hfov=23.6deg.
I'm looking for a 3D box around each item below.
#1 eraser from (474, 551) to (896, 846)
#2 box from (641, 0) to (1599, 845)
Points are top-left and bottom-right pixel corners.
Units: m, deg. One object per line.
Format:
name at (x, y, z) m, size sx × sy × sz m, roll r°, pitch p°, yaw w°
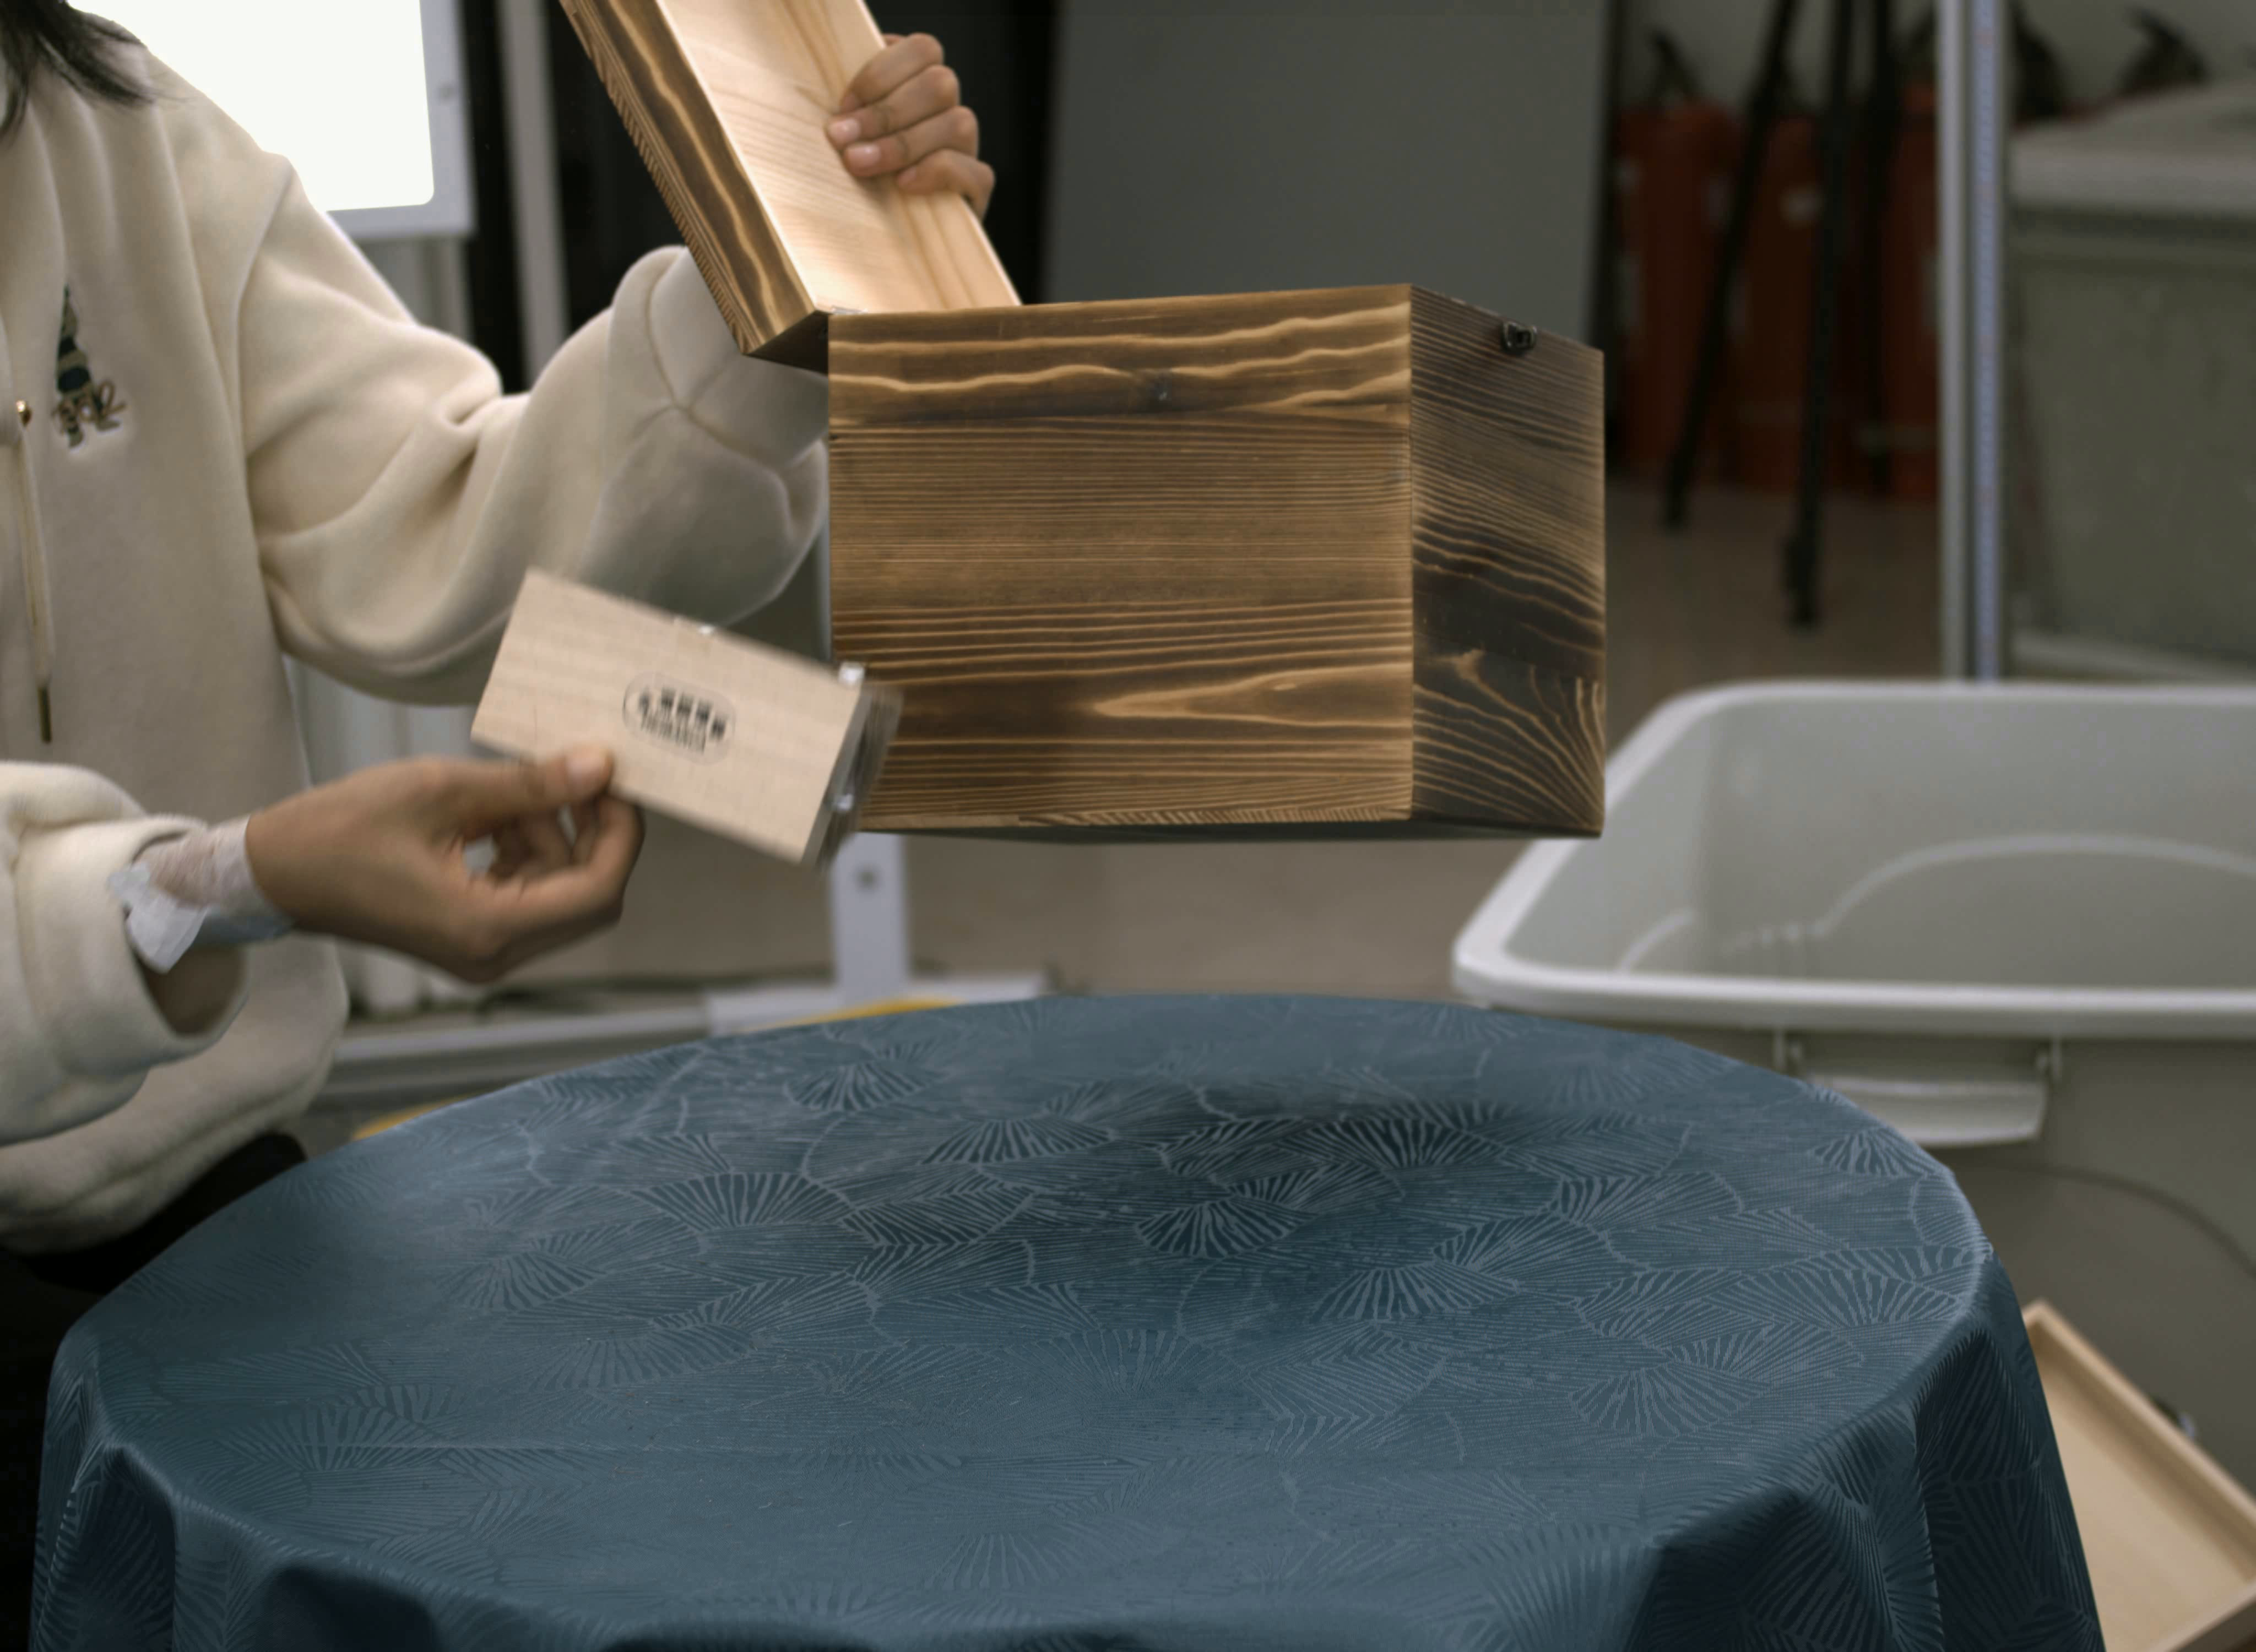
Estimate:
eraser at (-0.138, -0.039, 1.676) m, size 0.140 × 0.057 × 0.028 m, roll 19°, pitch 0°, yaw 36°
box at (-0.016, -0.180, 1.811) m, size 0.322 × 0.380 × 0.206 m, roll -1°, pitch -2°, yaw 23°
